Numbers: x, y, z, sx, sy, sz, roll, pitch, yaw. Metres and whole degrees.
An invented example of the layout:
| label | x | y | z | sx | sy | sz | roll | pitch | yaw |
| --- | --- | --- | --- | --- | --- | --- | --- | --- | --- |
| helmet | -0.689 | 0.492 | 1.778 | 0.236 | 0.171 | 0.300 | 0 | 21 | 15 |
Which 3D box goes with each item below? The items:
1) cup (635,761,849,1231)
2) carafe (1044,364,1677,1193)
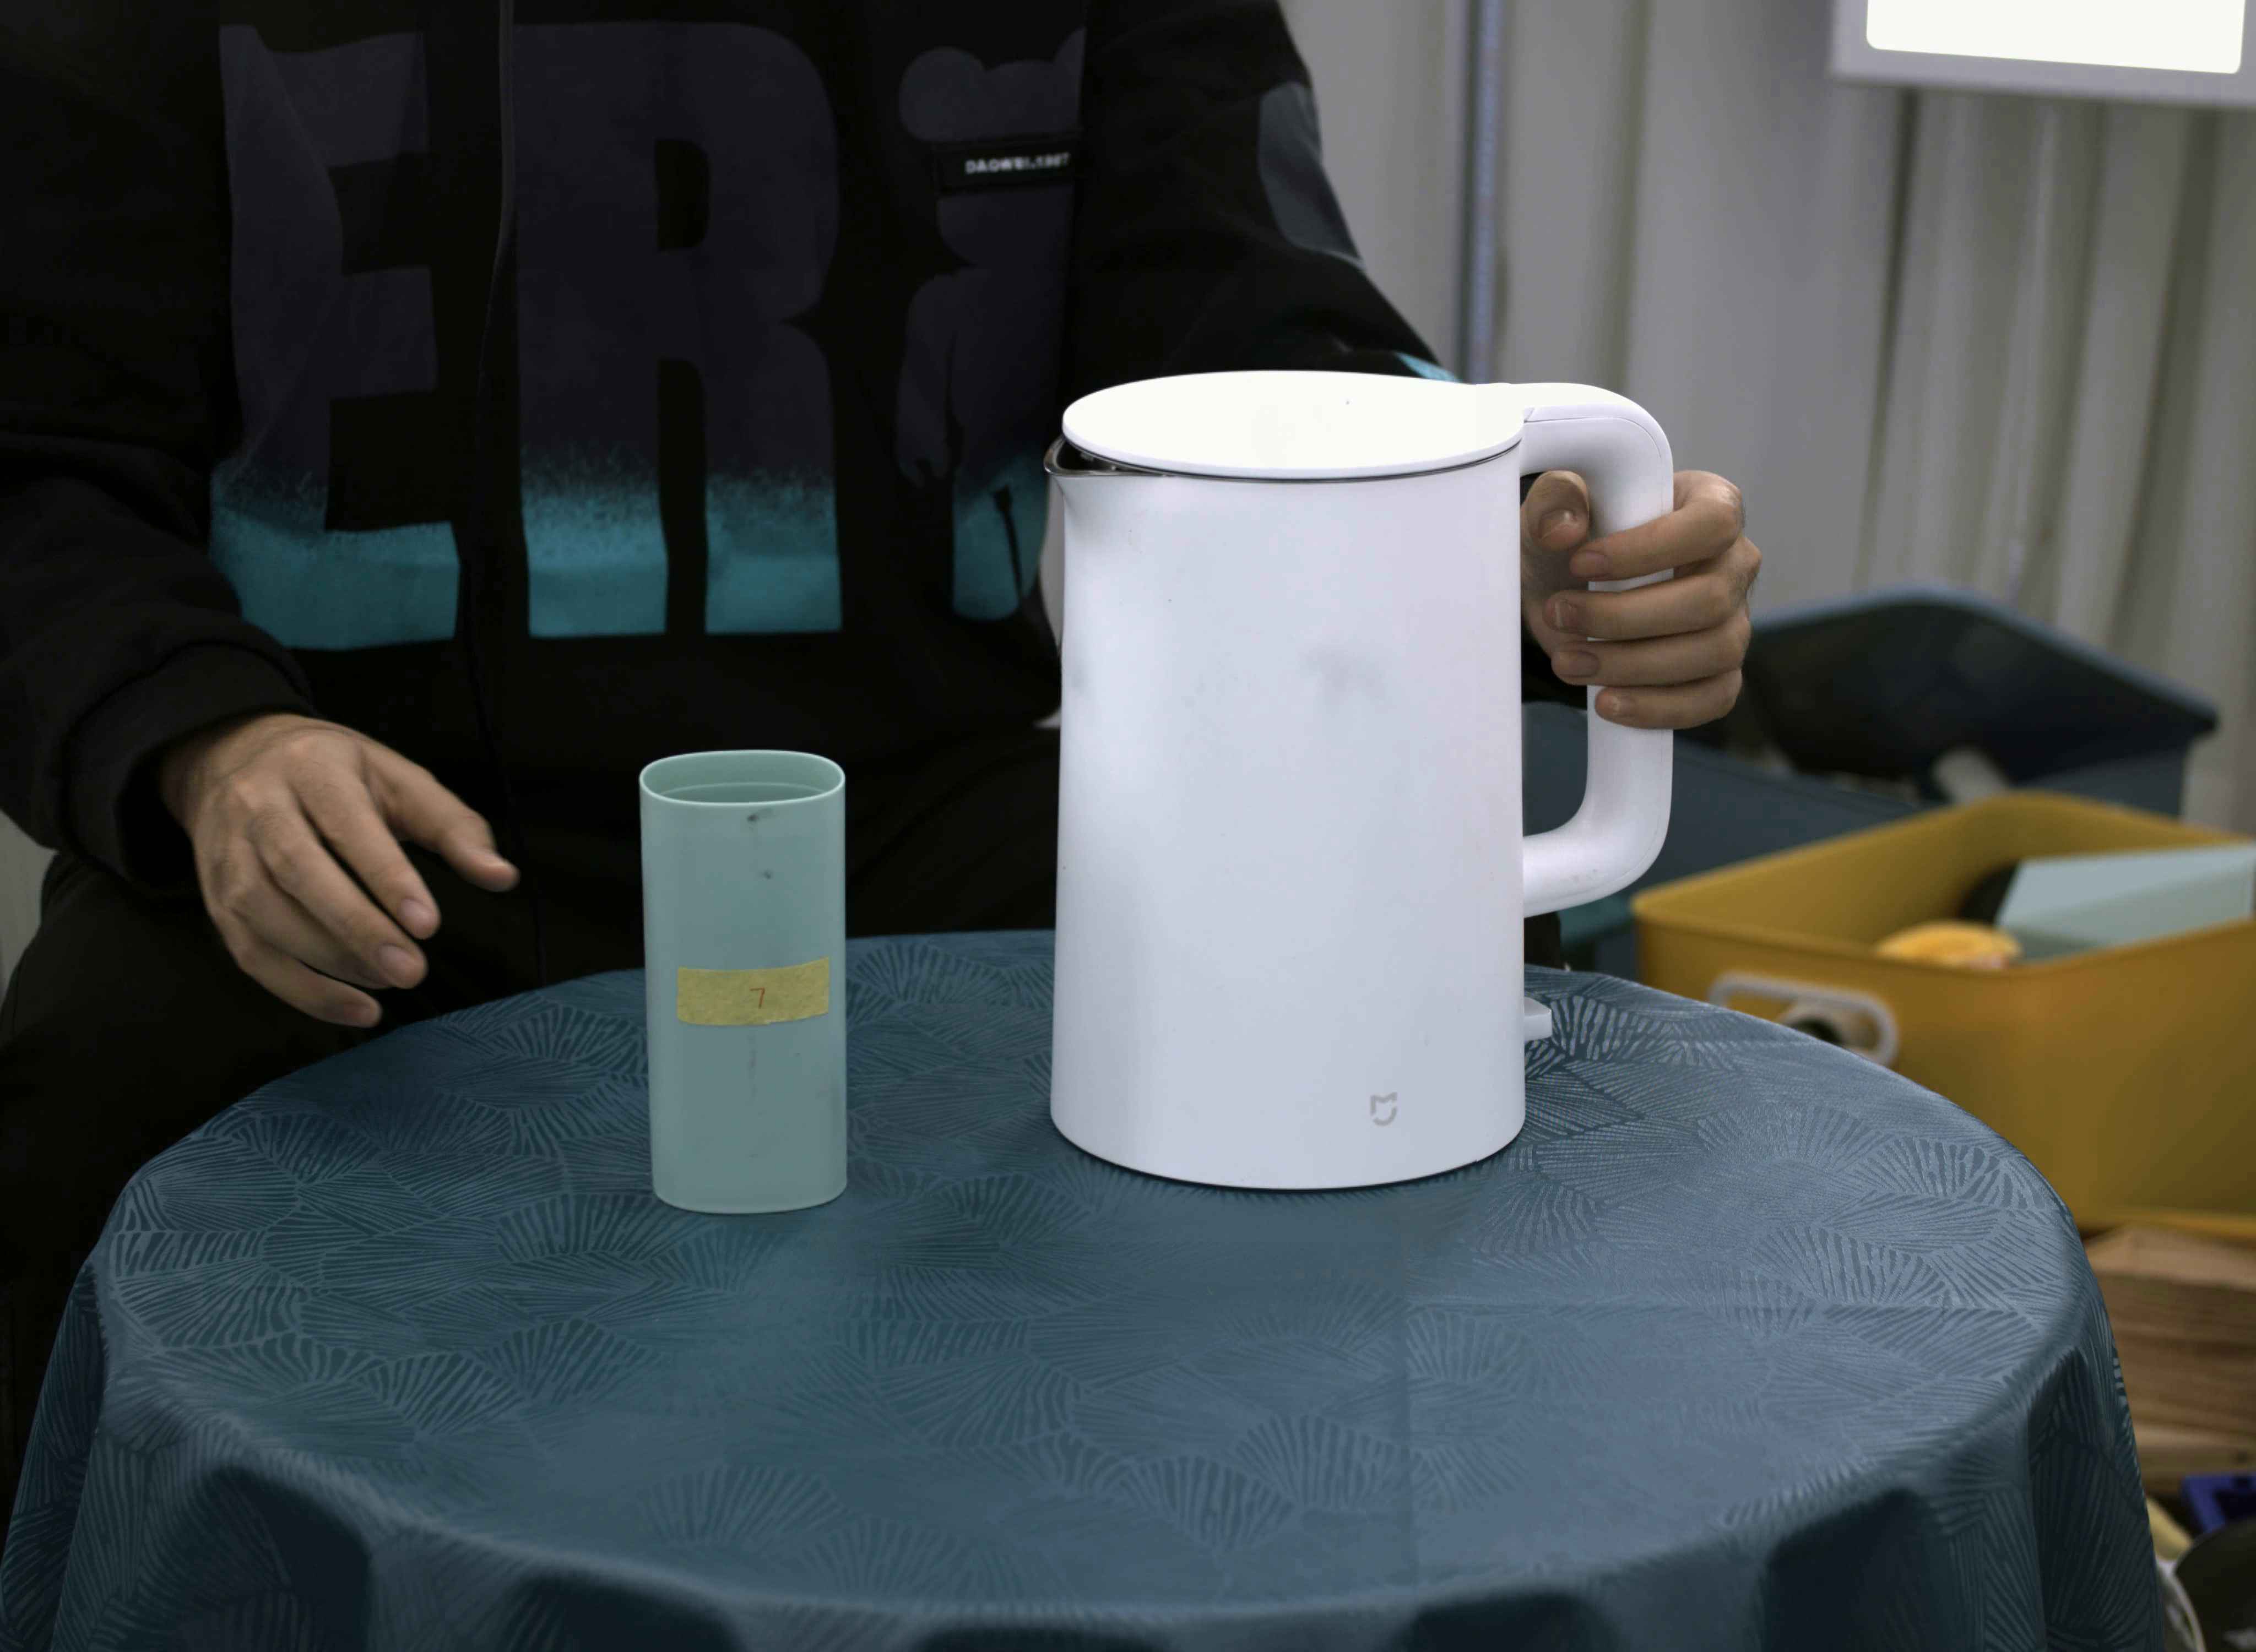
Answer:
| label | x | y | z | sx | sy | sz | roll | pitch | yaw |
| --- | --- | --- | --- | --- | --- | --- | --- | --- | --- |
| cup | -0.117 | 0.050 | 1.606 | 0.066 | 0.133 | 0.066 | 0 | 17 | 1 |
| carafe | 0.075 | -0.020 | 1.665 | 0.214 | 0.242 | 0.150 | -8 | 19 | -23 |
